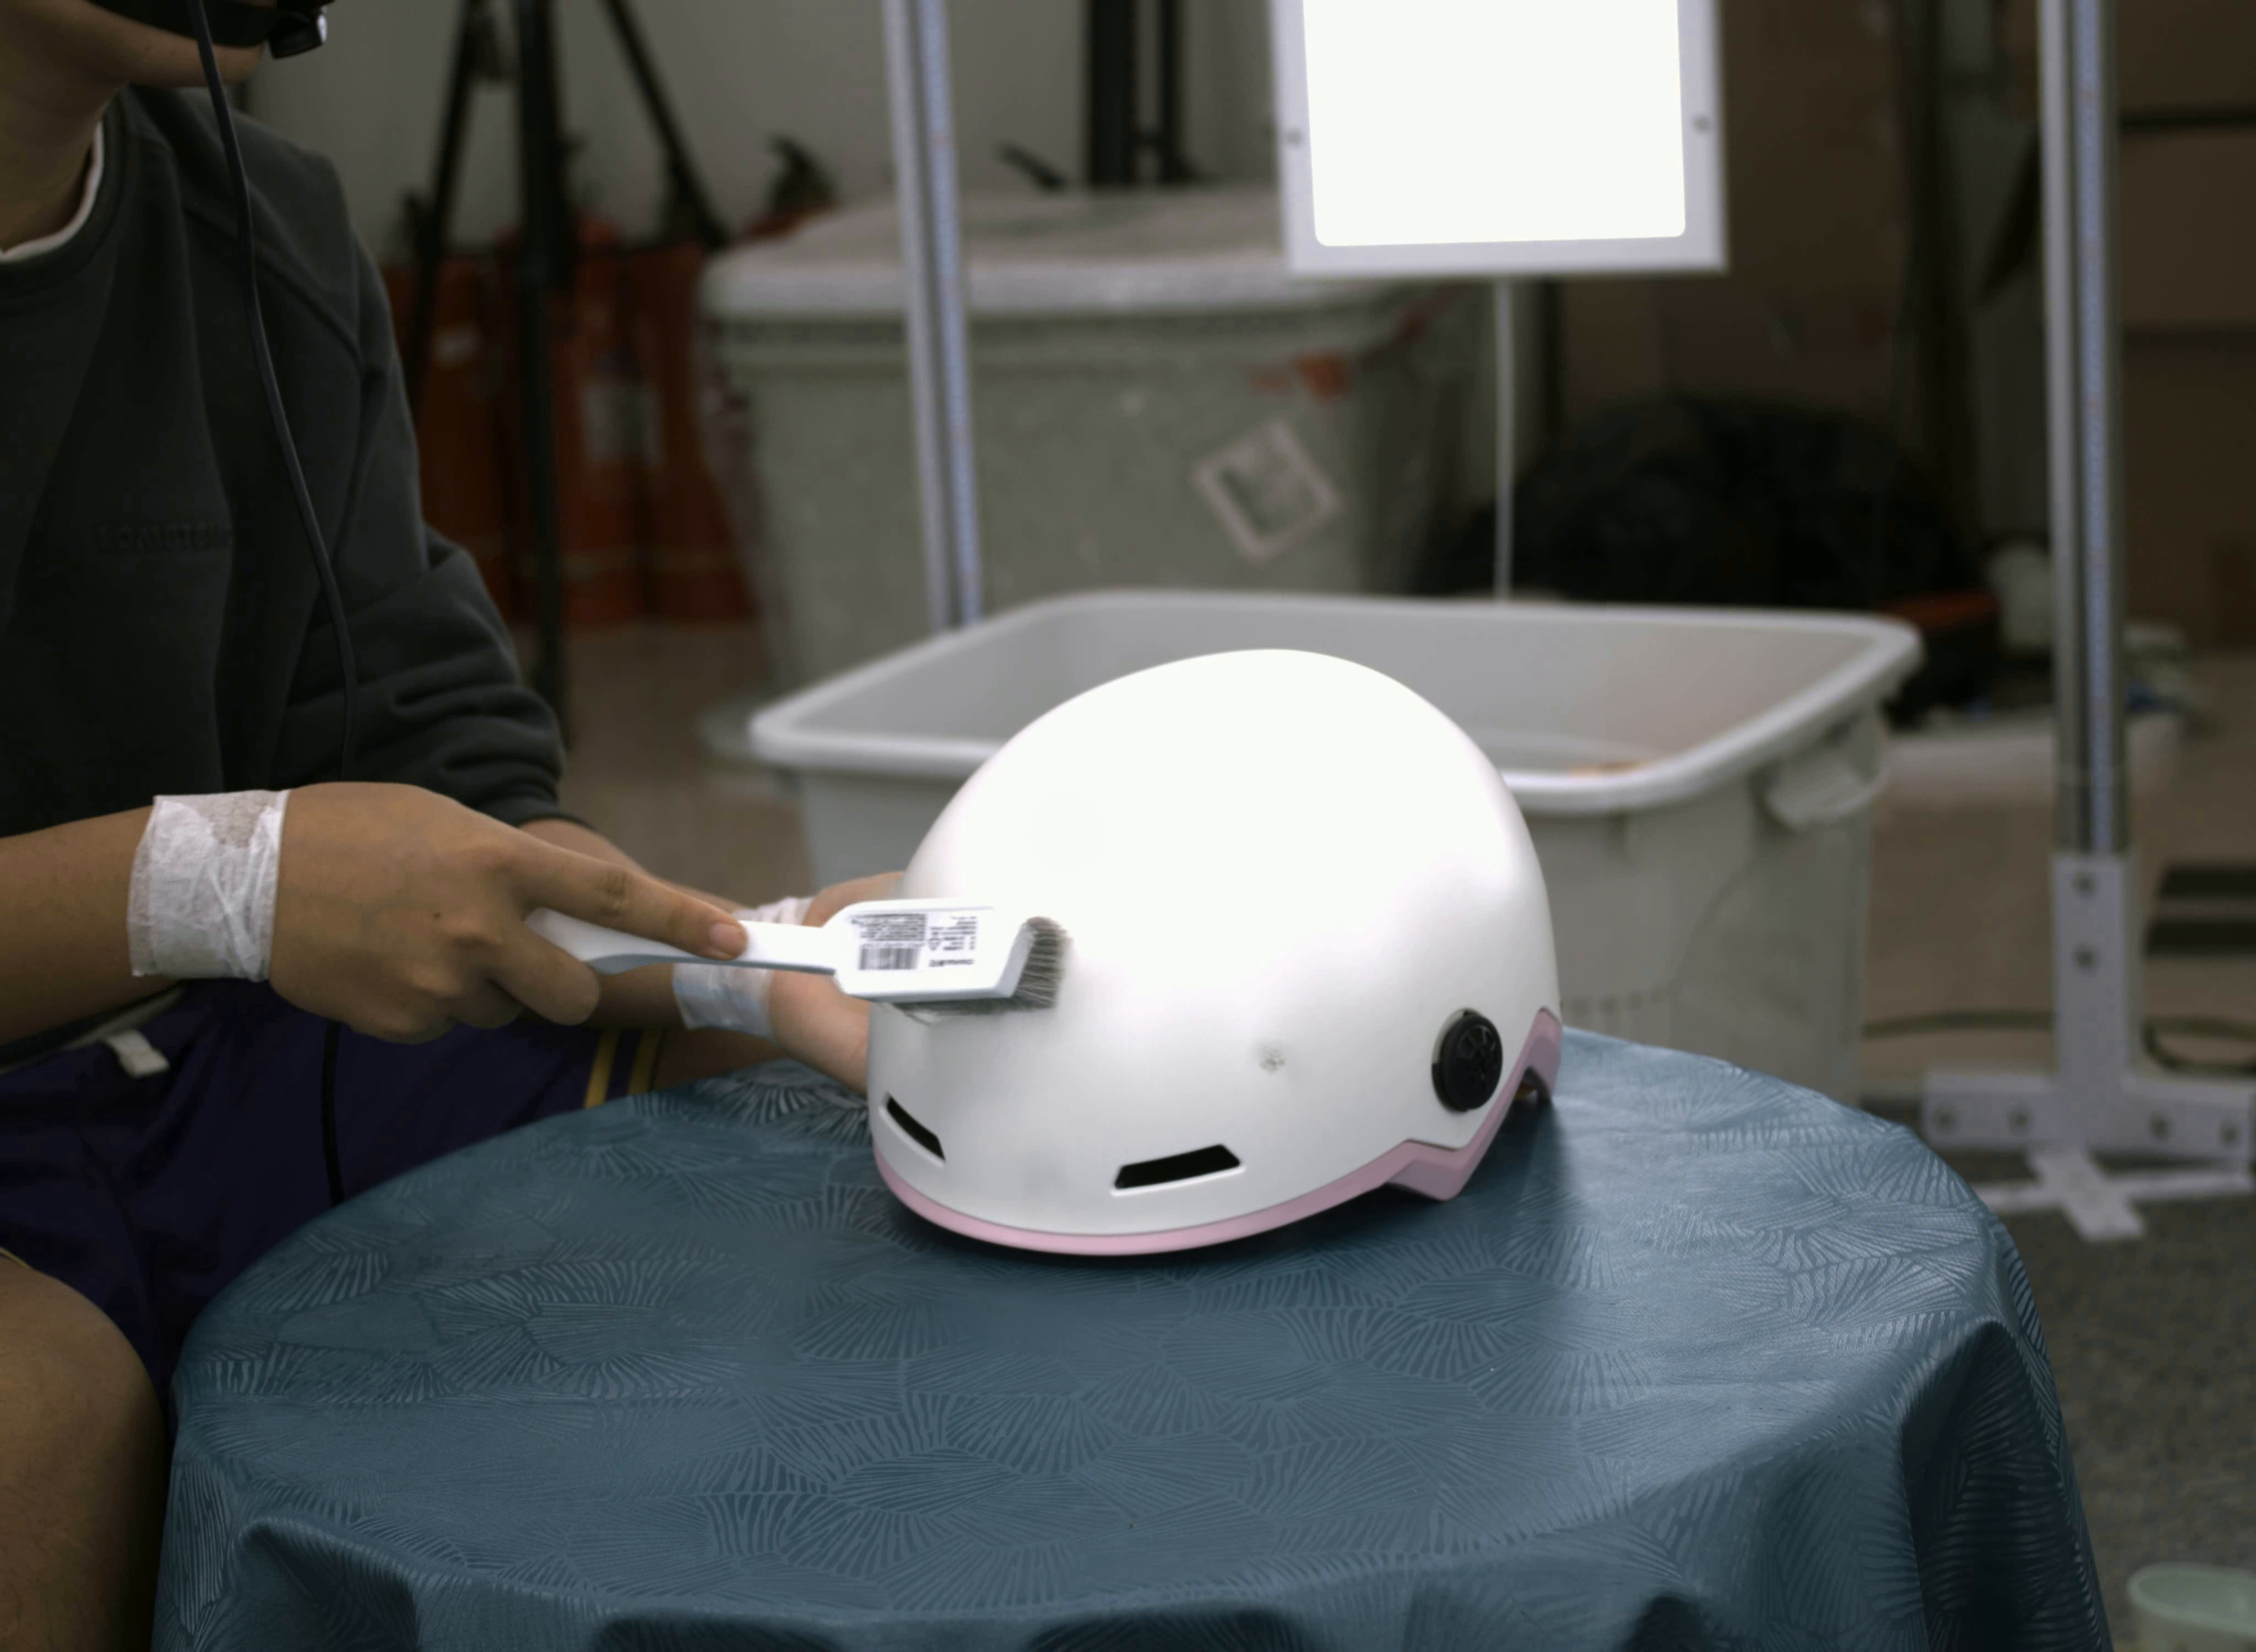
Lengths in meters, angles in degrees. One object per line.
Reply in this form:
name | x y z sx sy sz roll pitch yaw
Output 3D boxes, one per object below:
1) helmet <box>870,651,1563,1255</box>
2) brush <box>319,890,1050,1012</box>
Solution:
helmet | 0.031 0.031 1.910 0.241 0.168 0.262 8 18 32
brush | -0.146 0.042 1.828 0.245 0.034 0.050 0 -14 13
